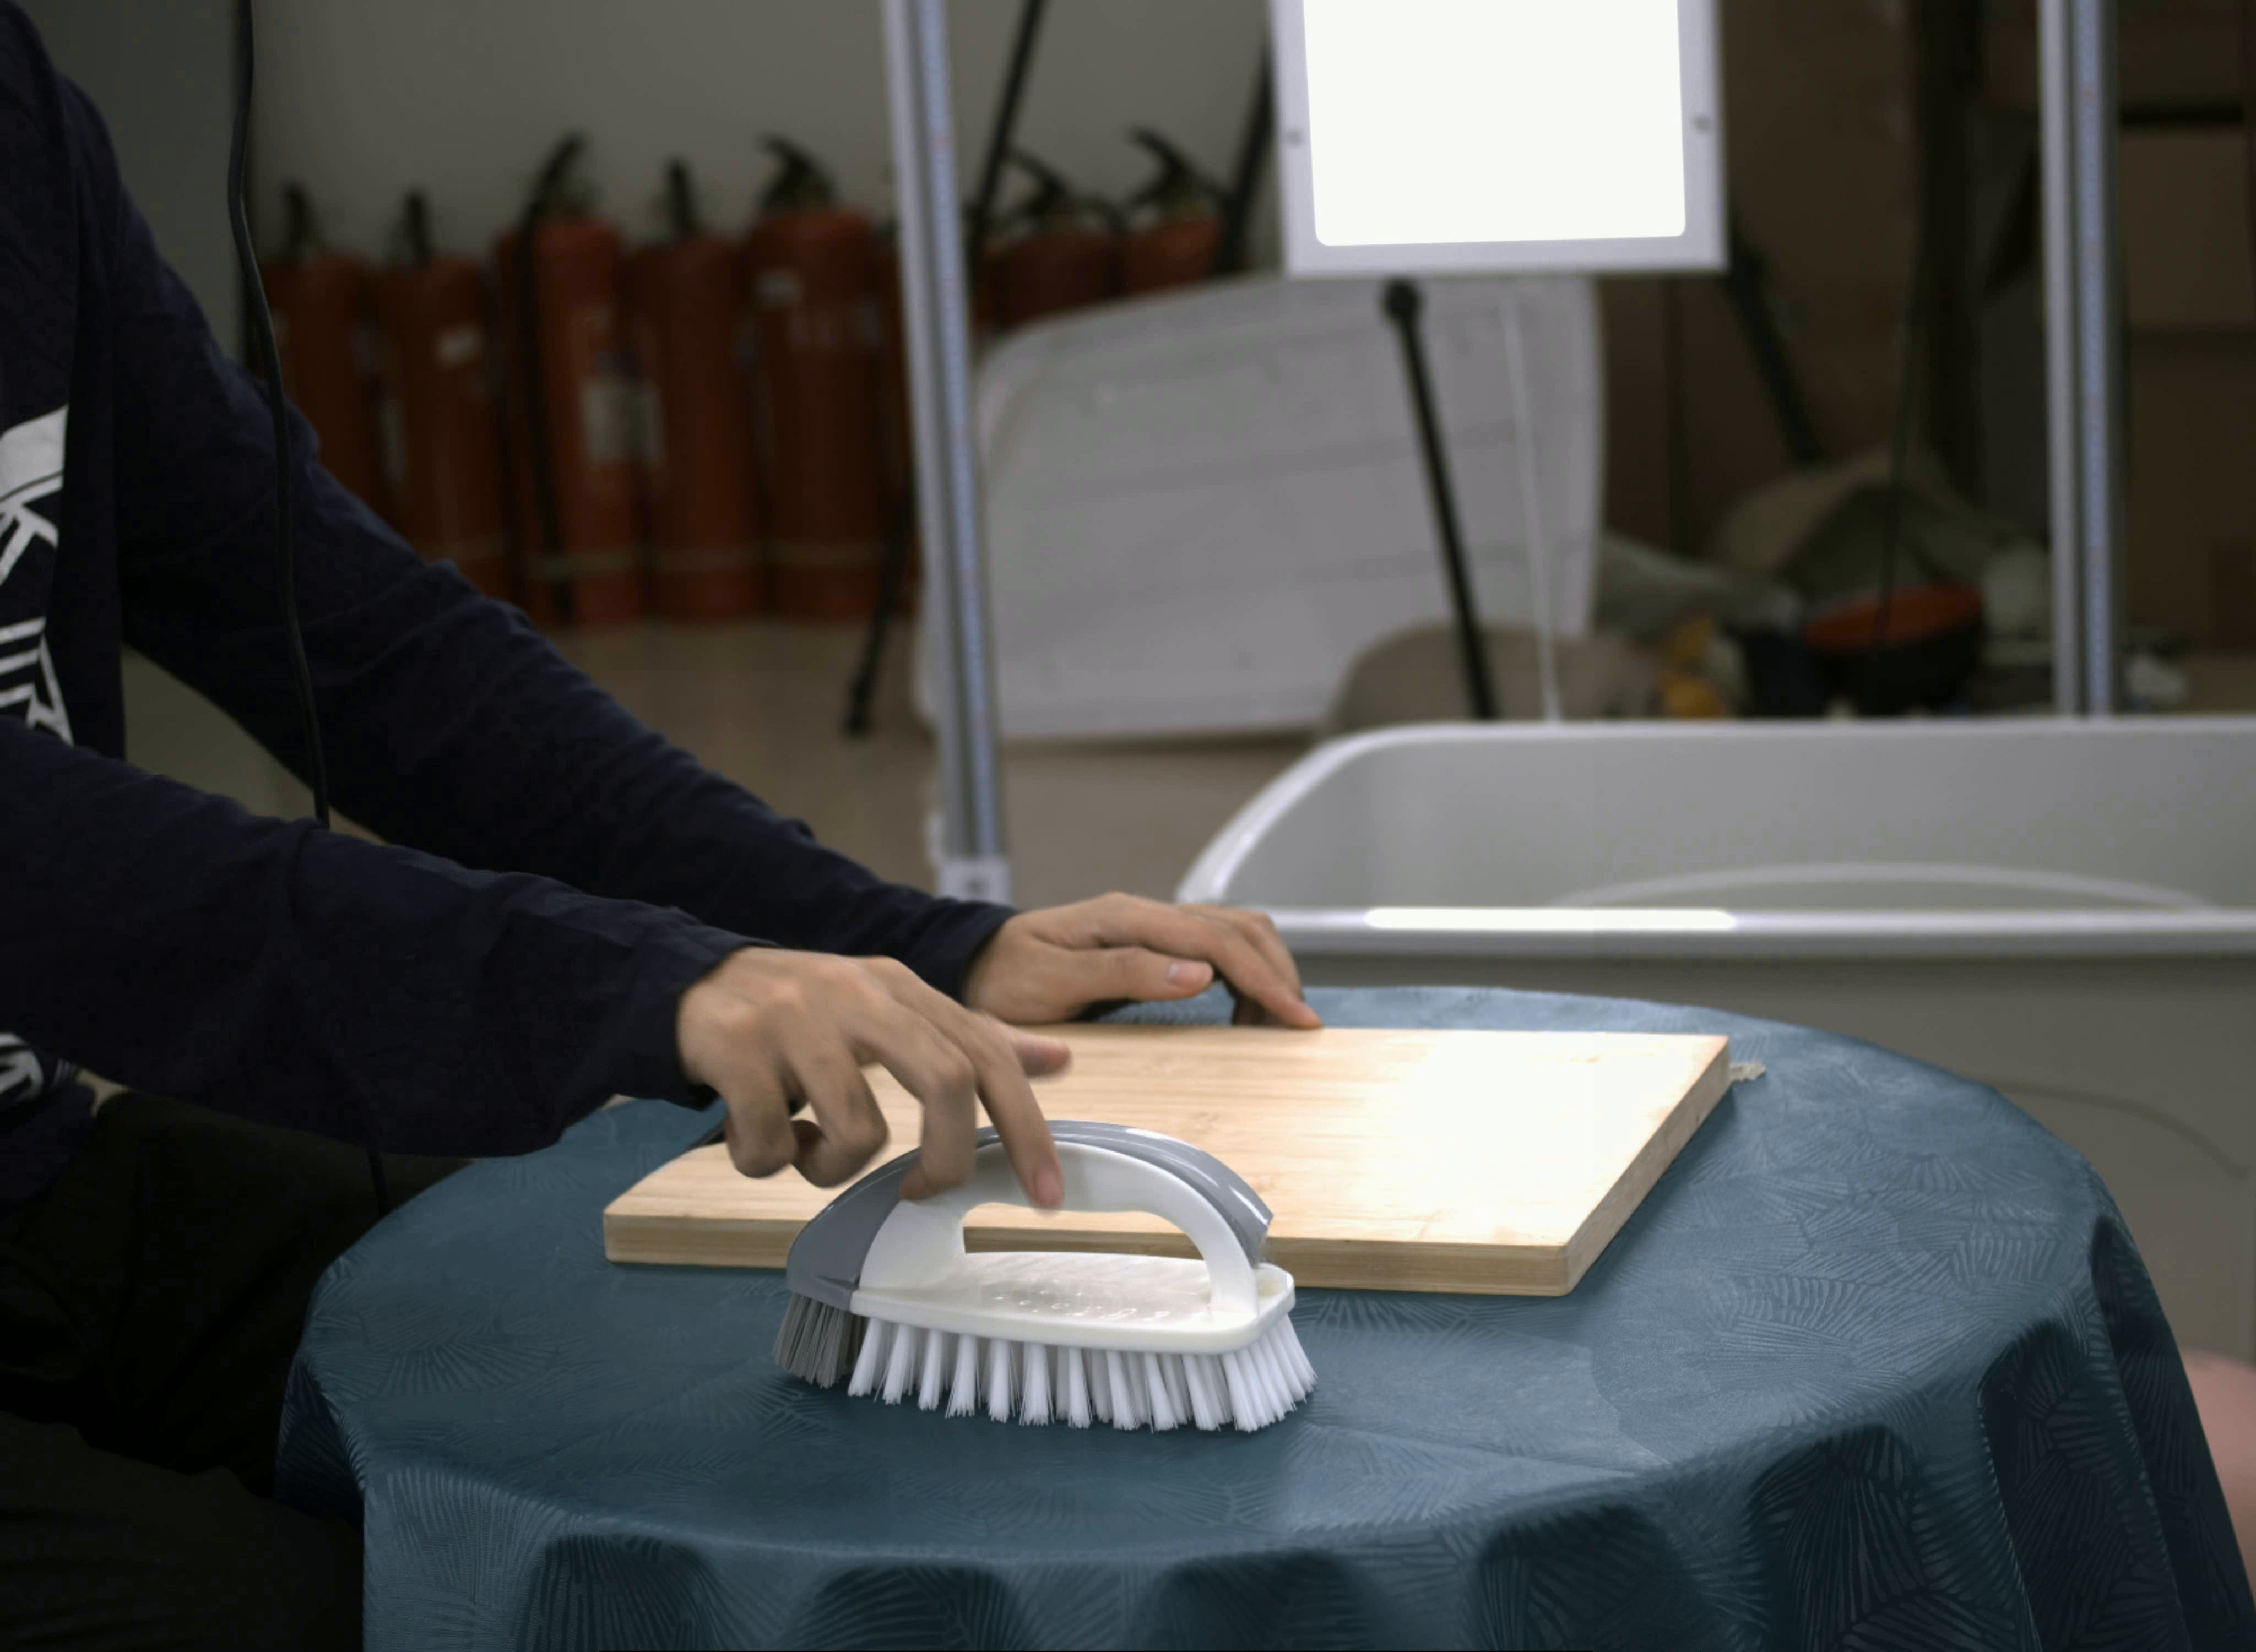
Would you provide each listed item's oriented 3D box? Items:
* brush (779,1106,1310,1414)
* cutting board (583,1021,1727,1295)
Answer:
[{"bbox_3d":[-0.034,0.133,1.691,0.178,0.094,0.060,-1,12,27],"label":"brush"},{"bbox_3d":[0.015,0.112,1.920,0.353,0.023,0.246,0,14,21],"label":"cutting board"}]
